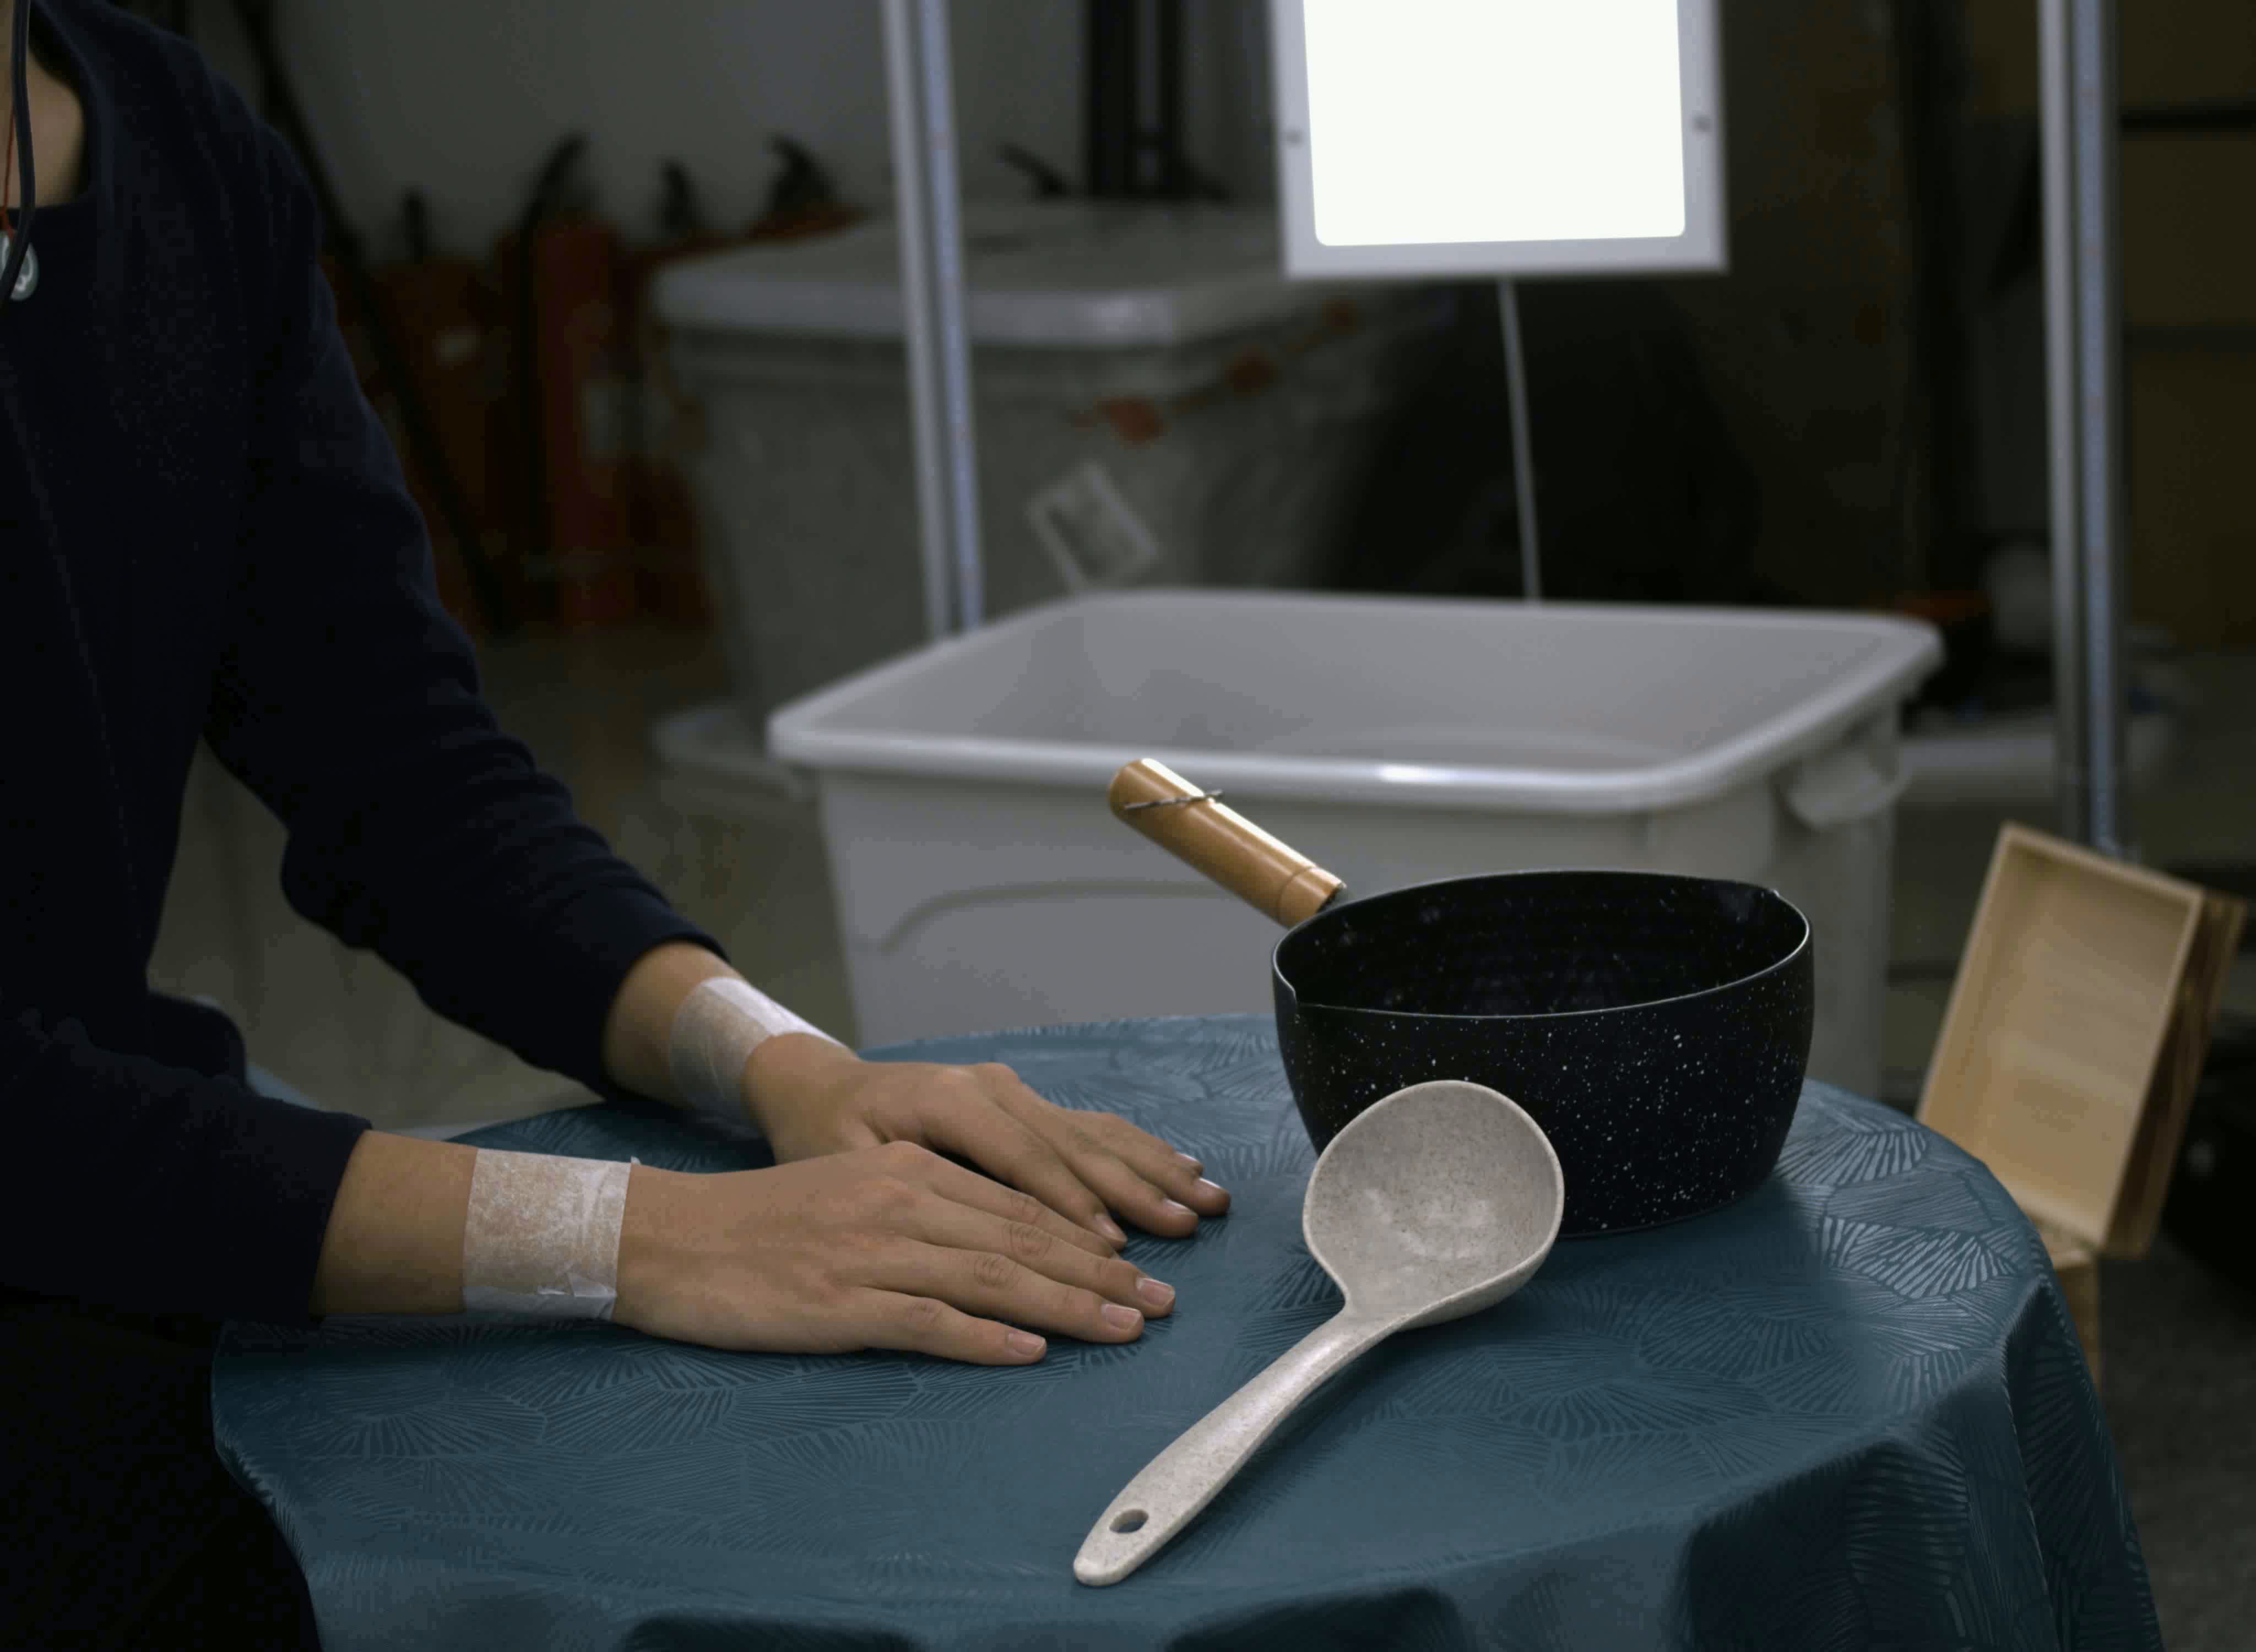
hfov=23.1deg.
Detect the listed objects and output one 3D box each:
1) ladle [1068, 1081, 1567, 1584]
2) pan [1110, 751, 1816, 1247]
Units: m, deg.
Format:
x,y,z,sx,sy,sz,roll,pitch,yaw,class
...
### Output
x,y,z,sx,sy,sz,roll,pitch,yaw,class
0.049,0.147,1.653,0.091,0.070,0.269,7,18,27,ladle
0.097,0.054,1.928,0.202,0.108,0.349,-15,18,-31,pan
